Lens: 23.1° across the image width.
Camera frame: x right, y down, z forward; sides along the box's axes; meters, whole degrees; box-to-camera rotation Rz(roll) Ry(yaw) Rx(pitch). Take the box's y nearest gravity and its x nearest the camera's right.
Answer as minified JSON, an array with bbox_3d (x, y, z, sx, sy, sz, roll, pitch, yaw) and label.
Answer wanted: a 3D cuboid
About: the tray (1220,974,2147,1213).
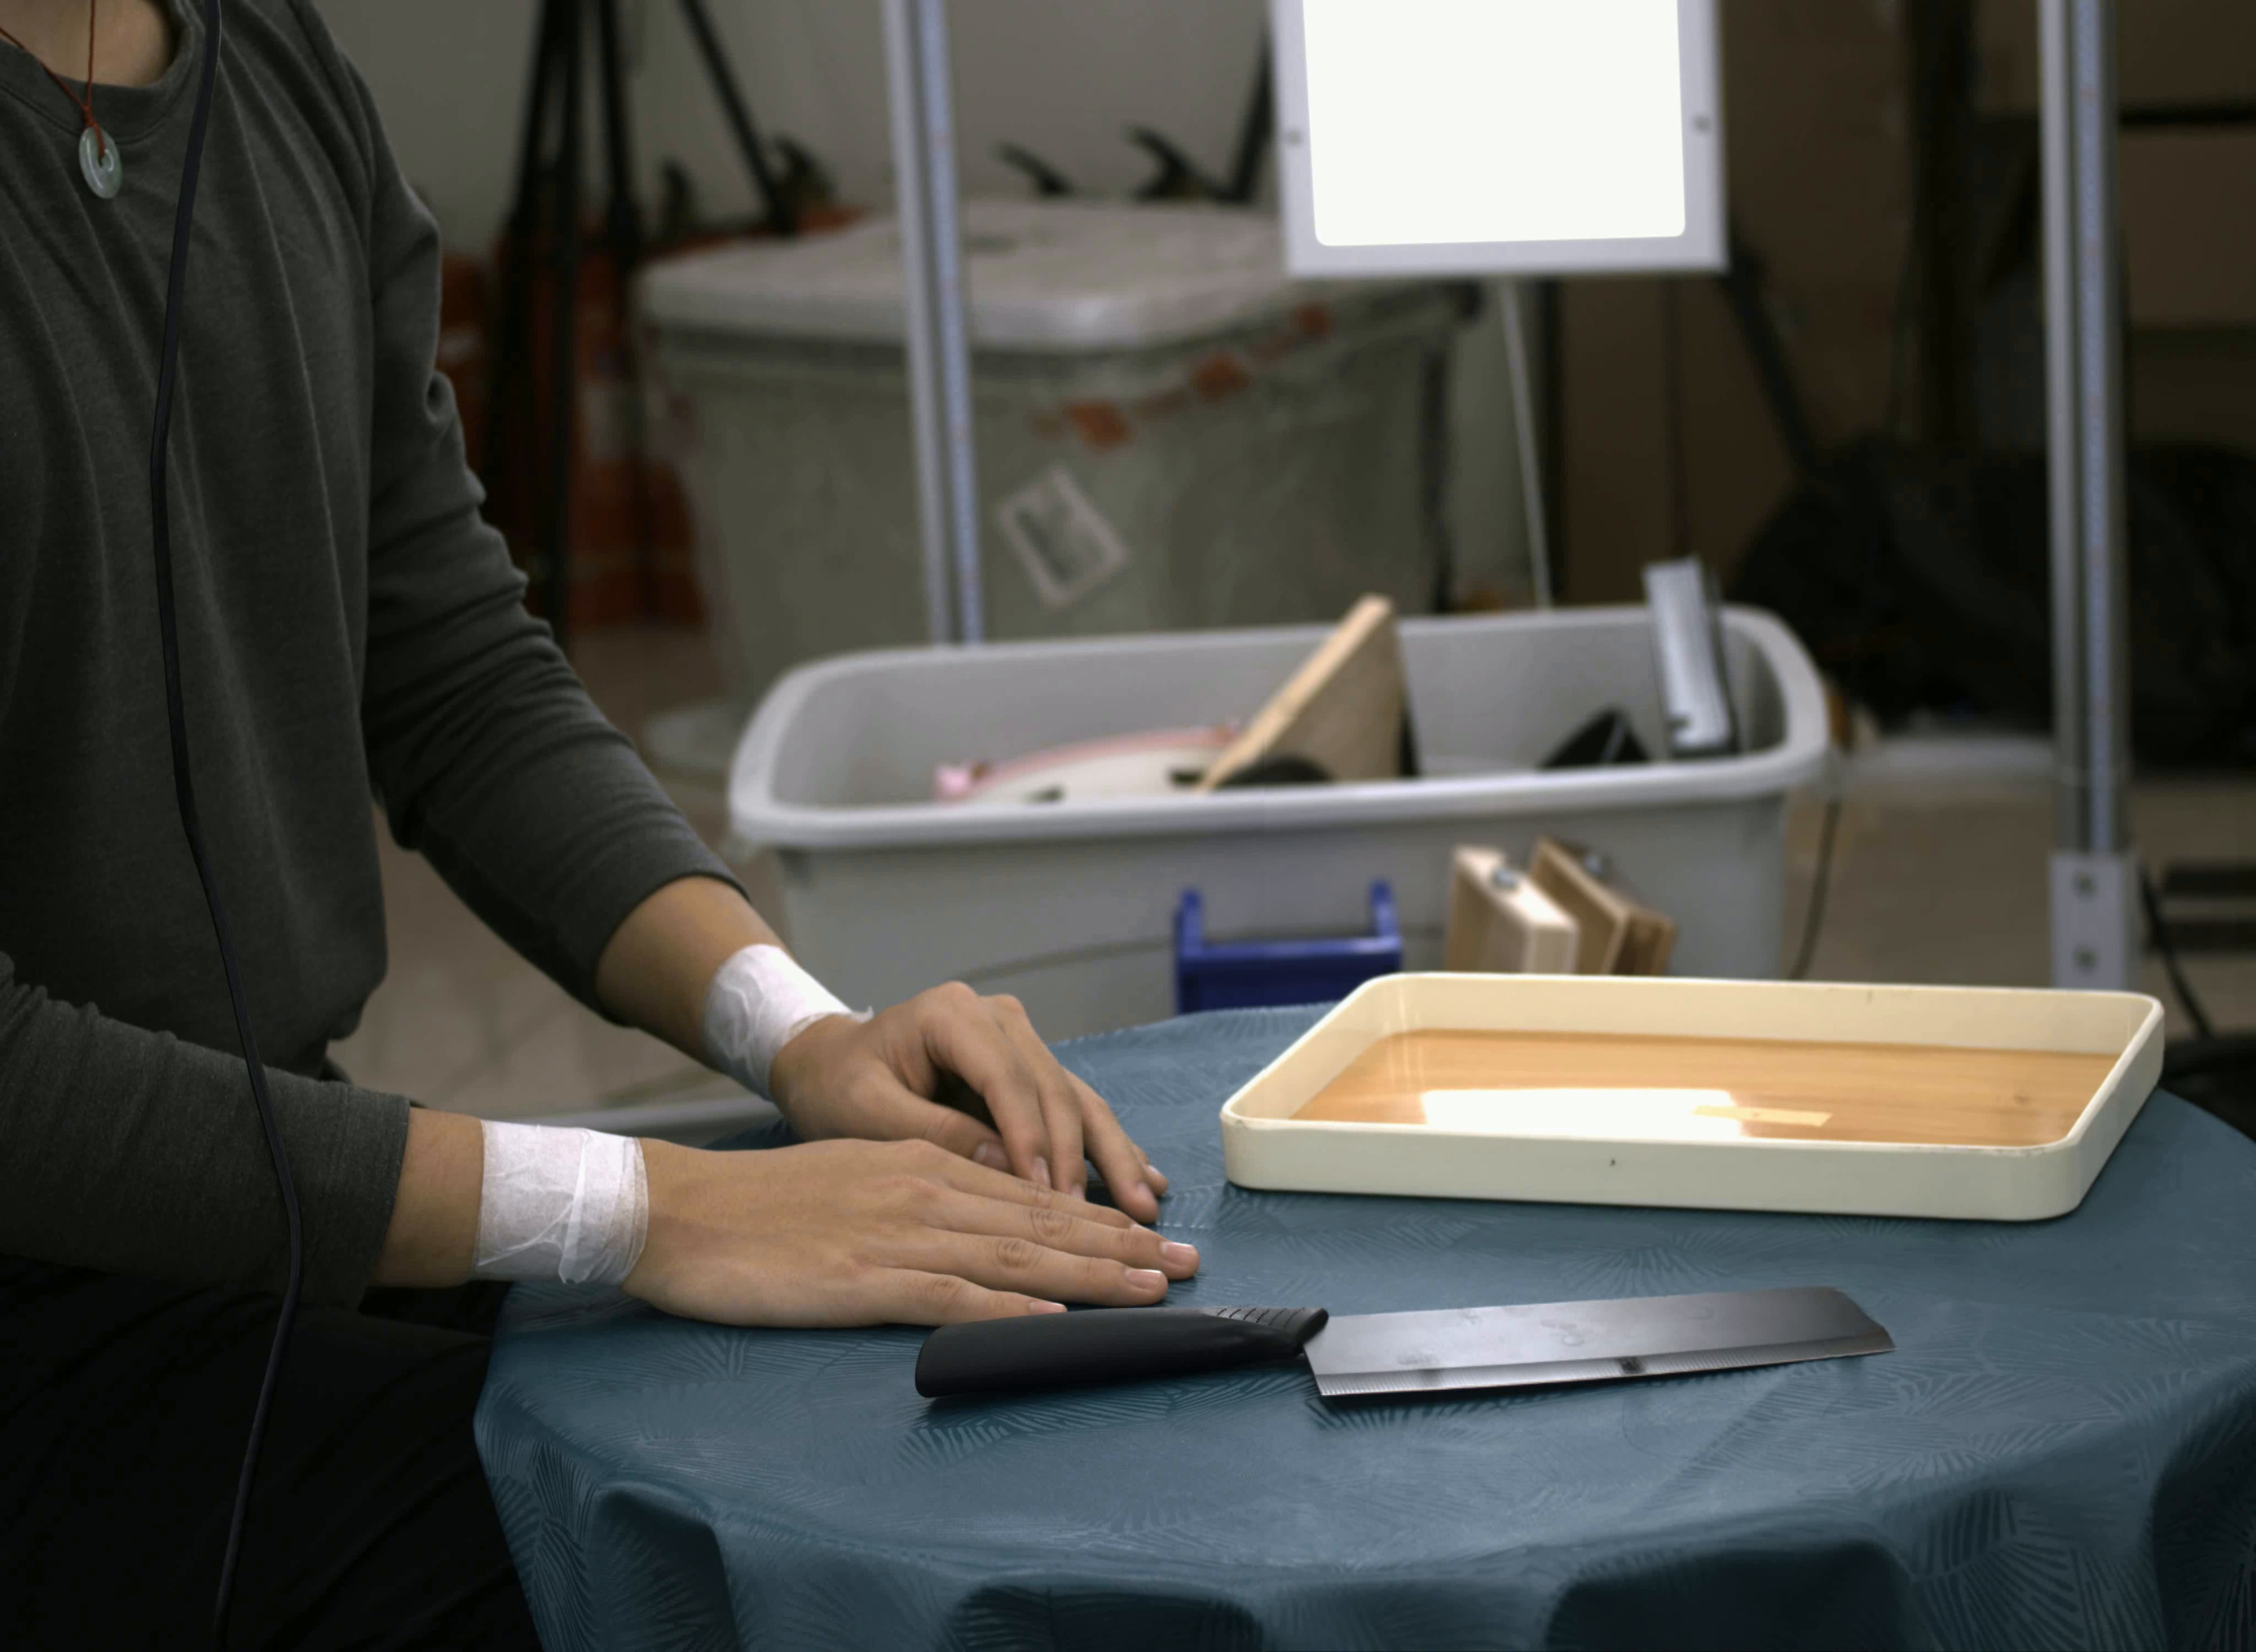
[{"bbox_3d":[0.200,0.092,1.915,0.305,0.027,0.188,1,14,23],"label":"tray"}]

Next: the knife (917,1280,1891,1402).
[{"bbox_3d":[0.085,0.161,1.703,0.302,0.021,0.080,-3,15,2],"label":"knife"}]
